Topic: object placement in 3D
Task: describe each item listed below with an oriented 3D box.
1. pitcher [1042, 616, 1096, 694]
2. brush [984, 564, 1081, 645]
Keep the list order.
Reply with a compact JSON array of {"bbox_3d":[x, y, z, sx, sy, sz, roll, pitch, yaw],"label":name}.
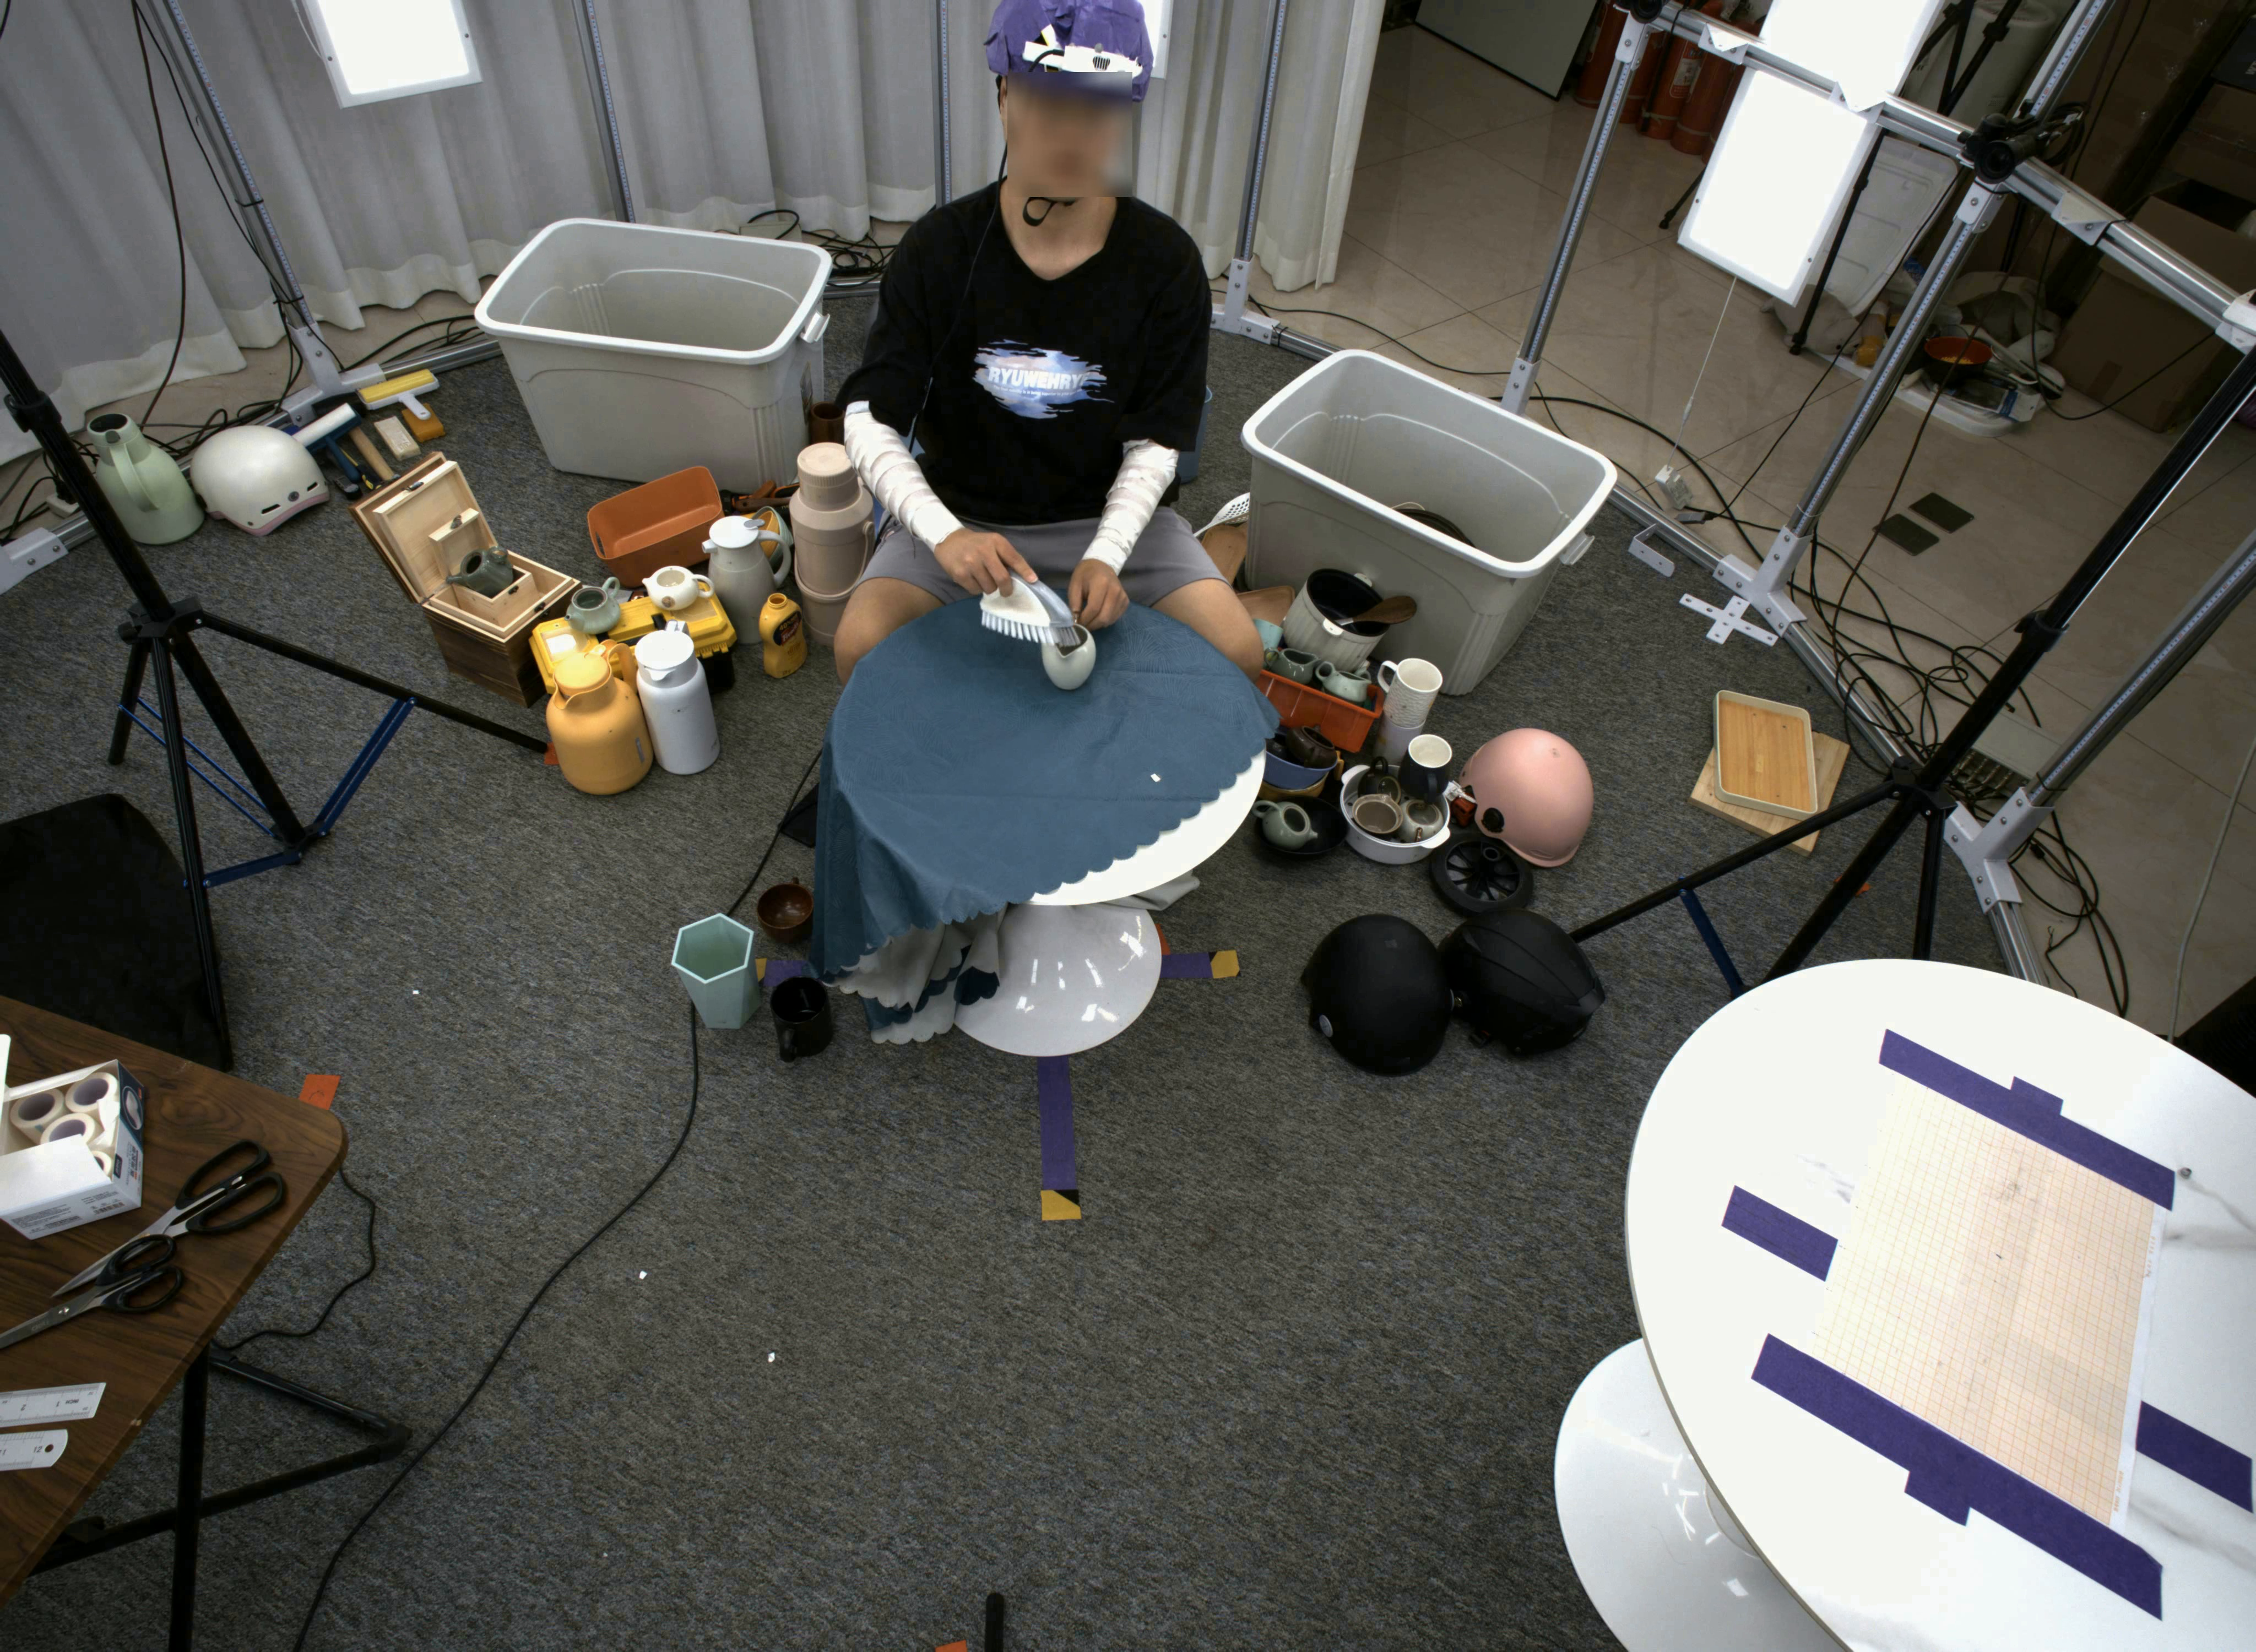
[{"bbox_3d":[-0.082,-0.239,1.818,0.076,0.086,0.122,14,51,3],"label":"pitcher"},{"bbox_3d":[-0.135,-0.312,1.783,0.062,0.092,0.178,-40,47,-24],"label":"brush"}]
